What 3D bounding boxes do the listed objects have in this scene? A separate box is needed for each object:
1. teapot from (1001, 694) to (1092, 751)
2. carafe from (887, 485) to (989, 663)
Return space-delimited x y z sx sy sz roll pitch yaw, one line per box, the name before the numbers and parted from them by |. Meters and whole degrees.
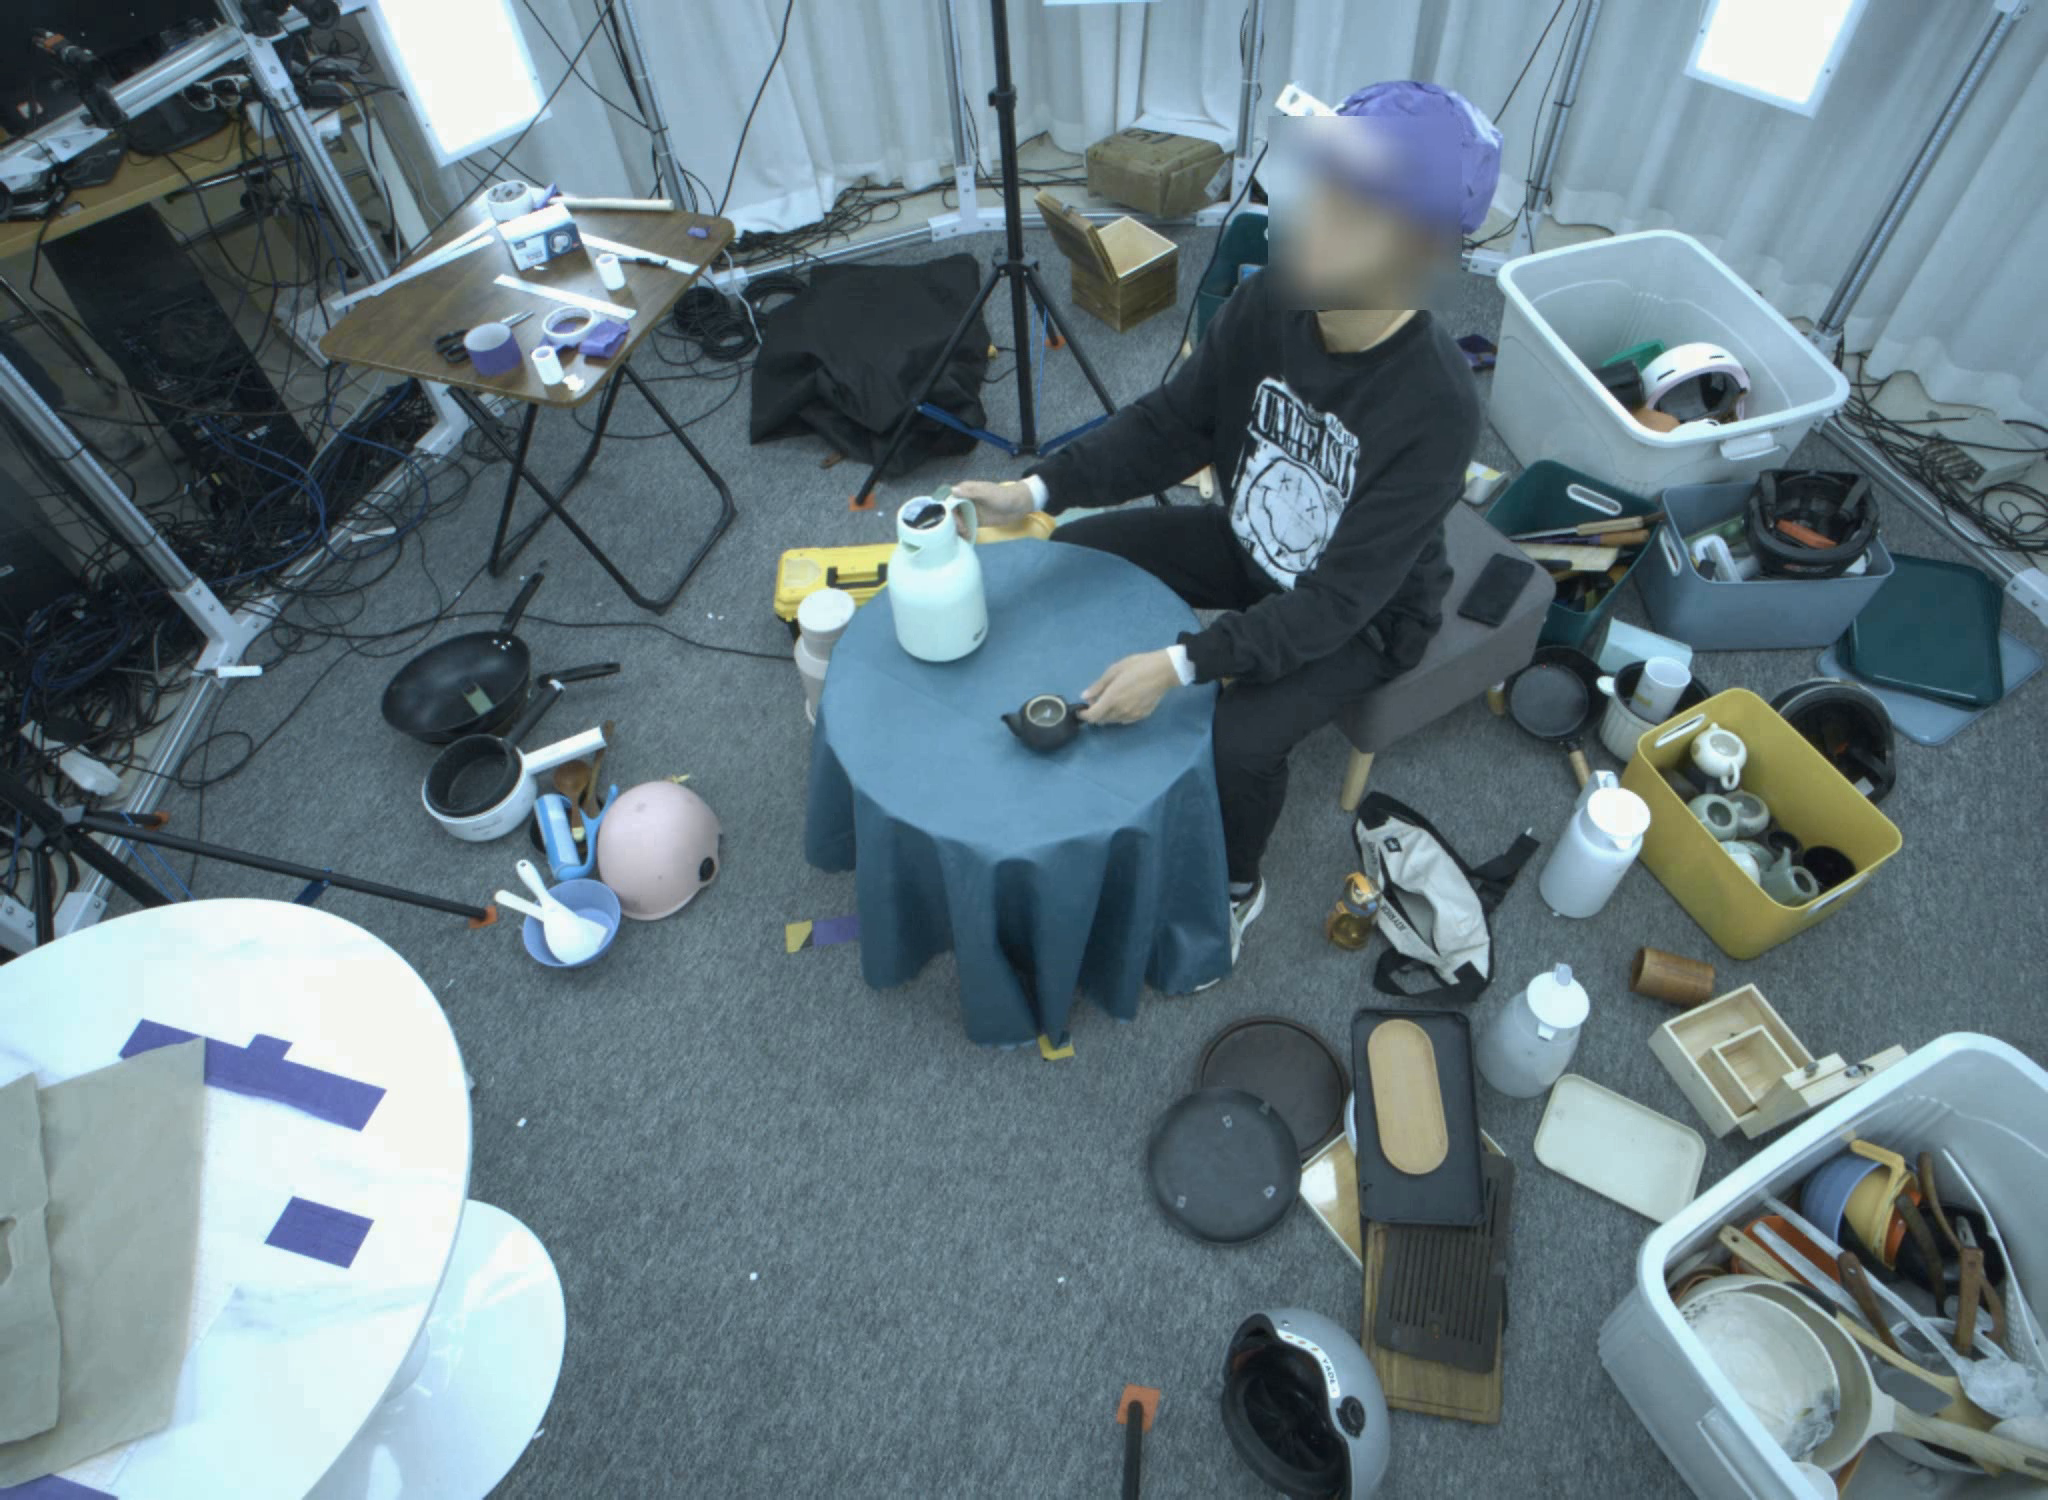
teapot | 0.033 -0.041 1.778 0.133 0.053 0.089 -9 56 -4
carafe | -0.128 -0.268 1.825 0.142 0.259 0.187 20 55 19
